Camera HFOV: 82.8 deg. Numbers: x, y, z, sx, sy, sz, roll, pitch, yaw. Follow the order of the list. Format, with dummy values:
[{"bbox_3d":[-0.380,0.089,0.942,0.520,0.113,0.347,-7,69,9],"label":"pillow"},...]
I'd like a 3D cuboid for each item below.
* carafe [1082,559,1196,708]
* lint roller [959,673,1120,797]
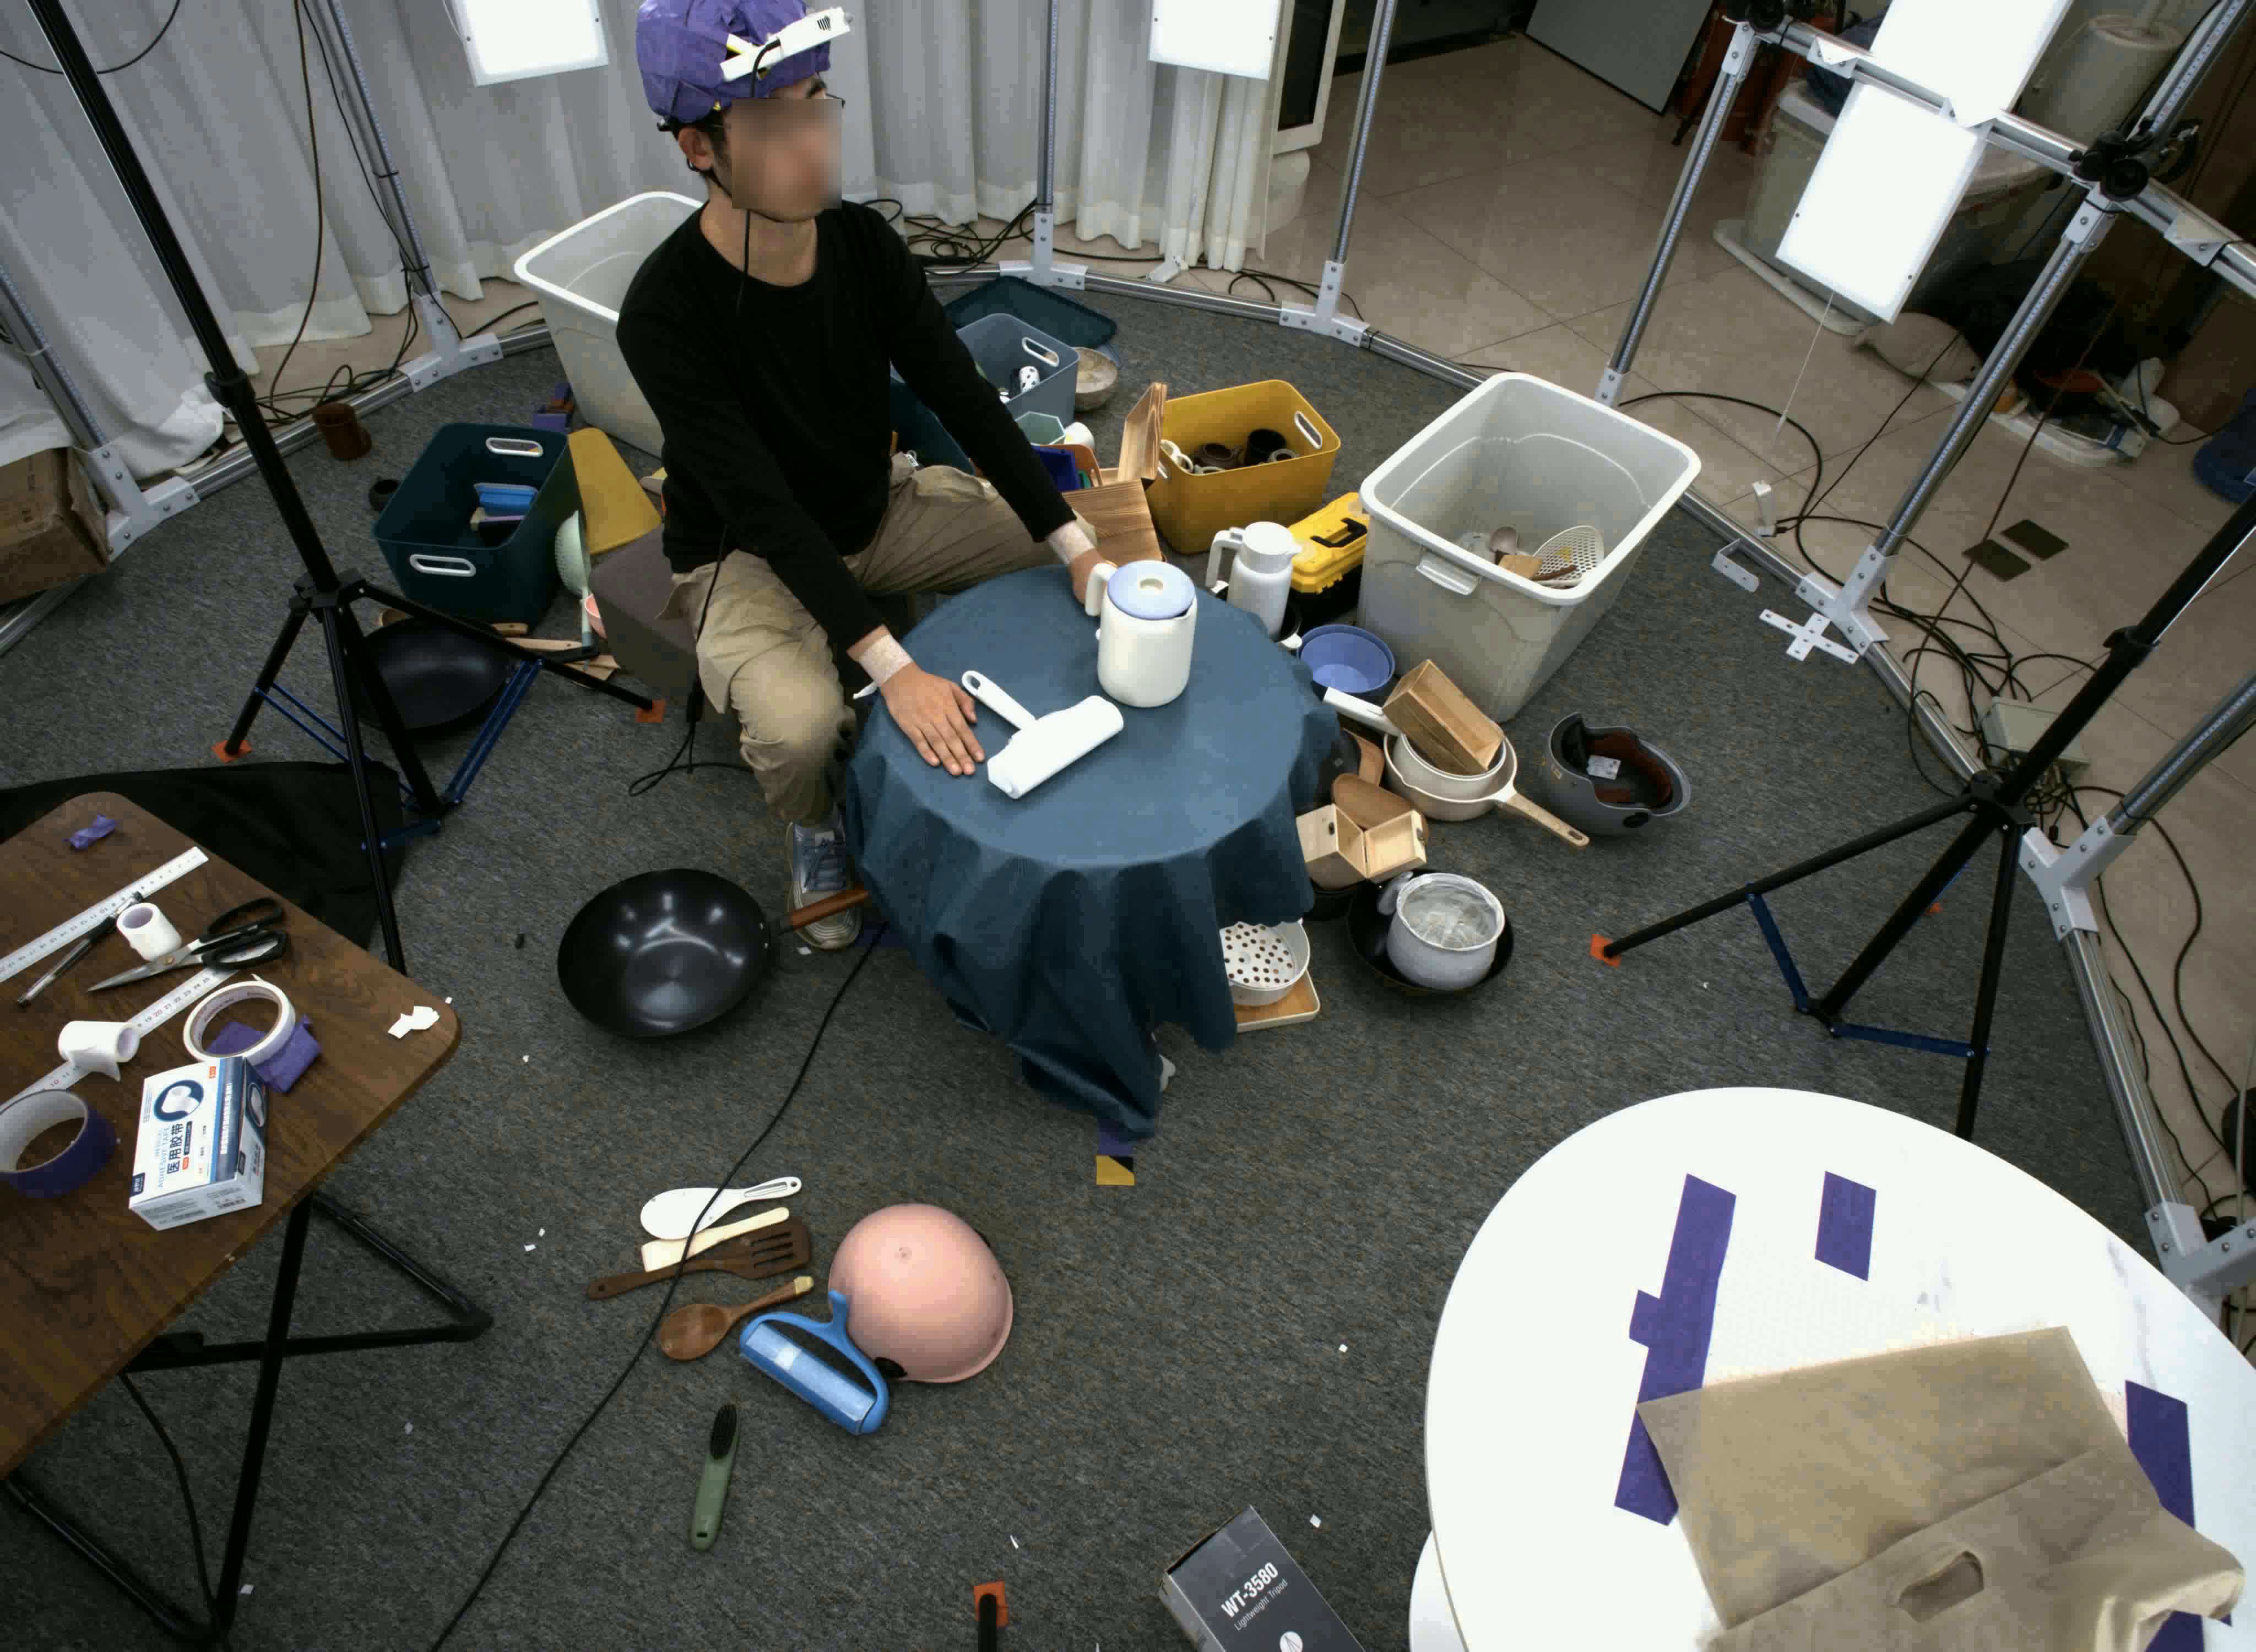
[{"bbox_3d":[0.008,-0.282,1.804,0.194,0.178,0.133,37,56,27],"label":"carafe"},{"bbox_3d":[-0.155,-0.156,1.767,0.204,0.047,0.229,-36,59,-28],"label":"lint roller"}]
